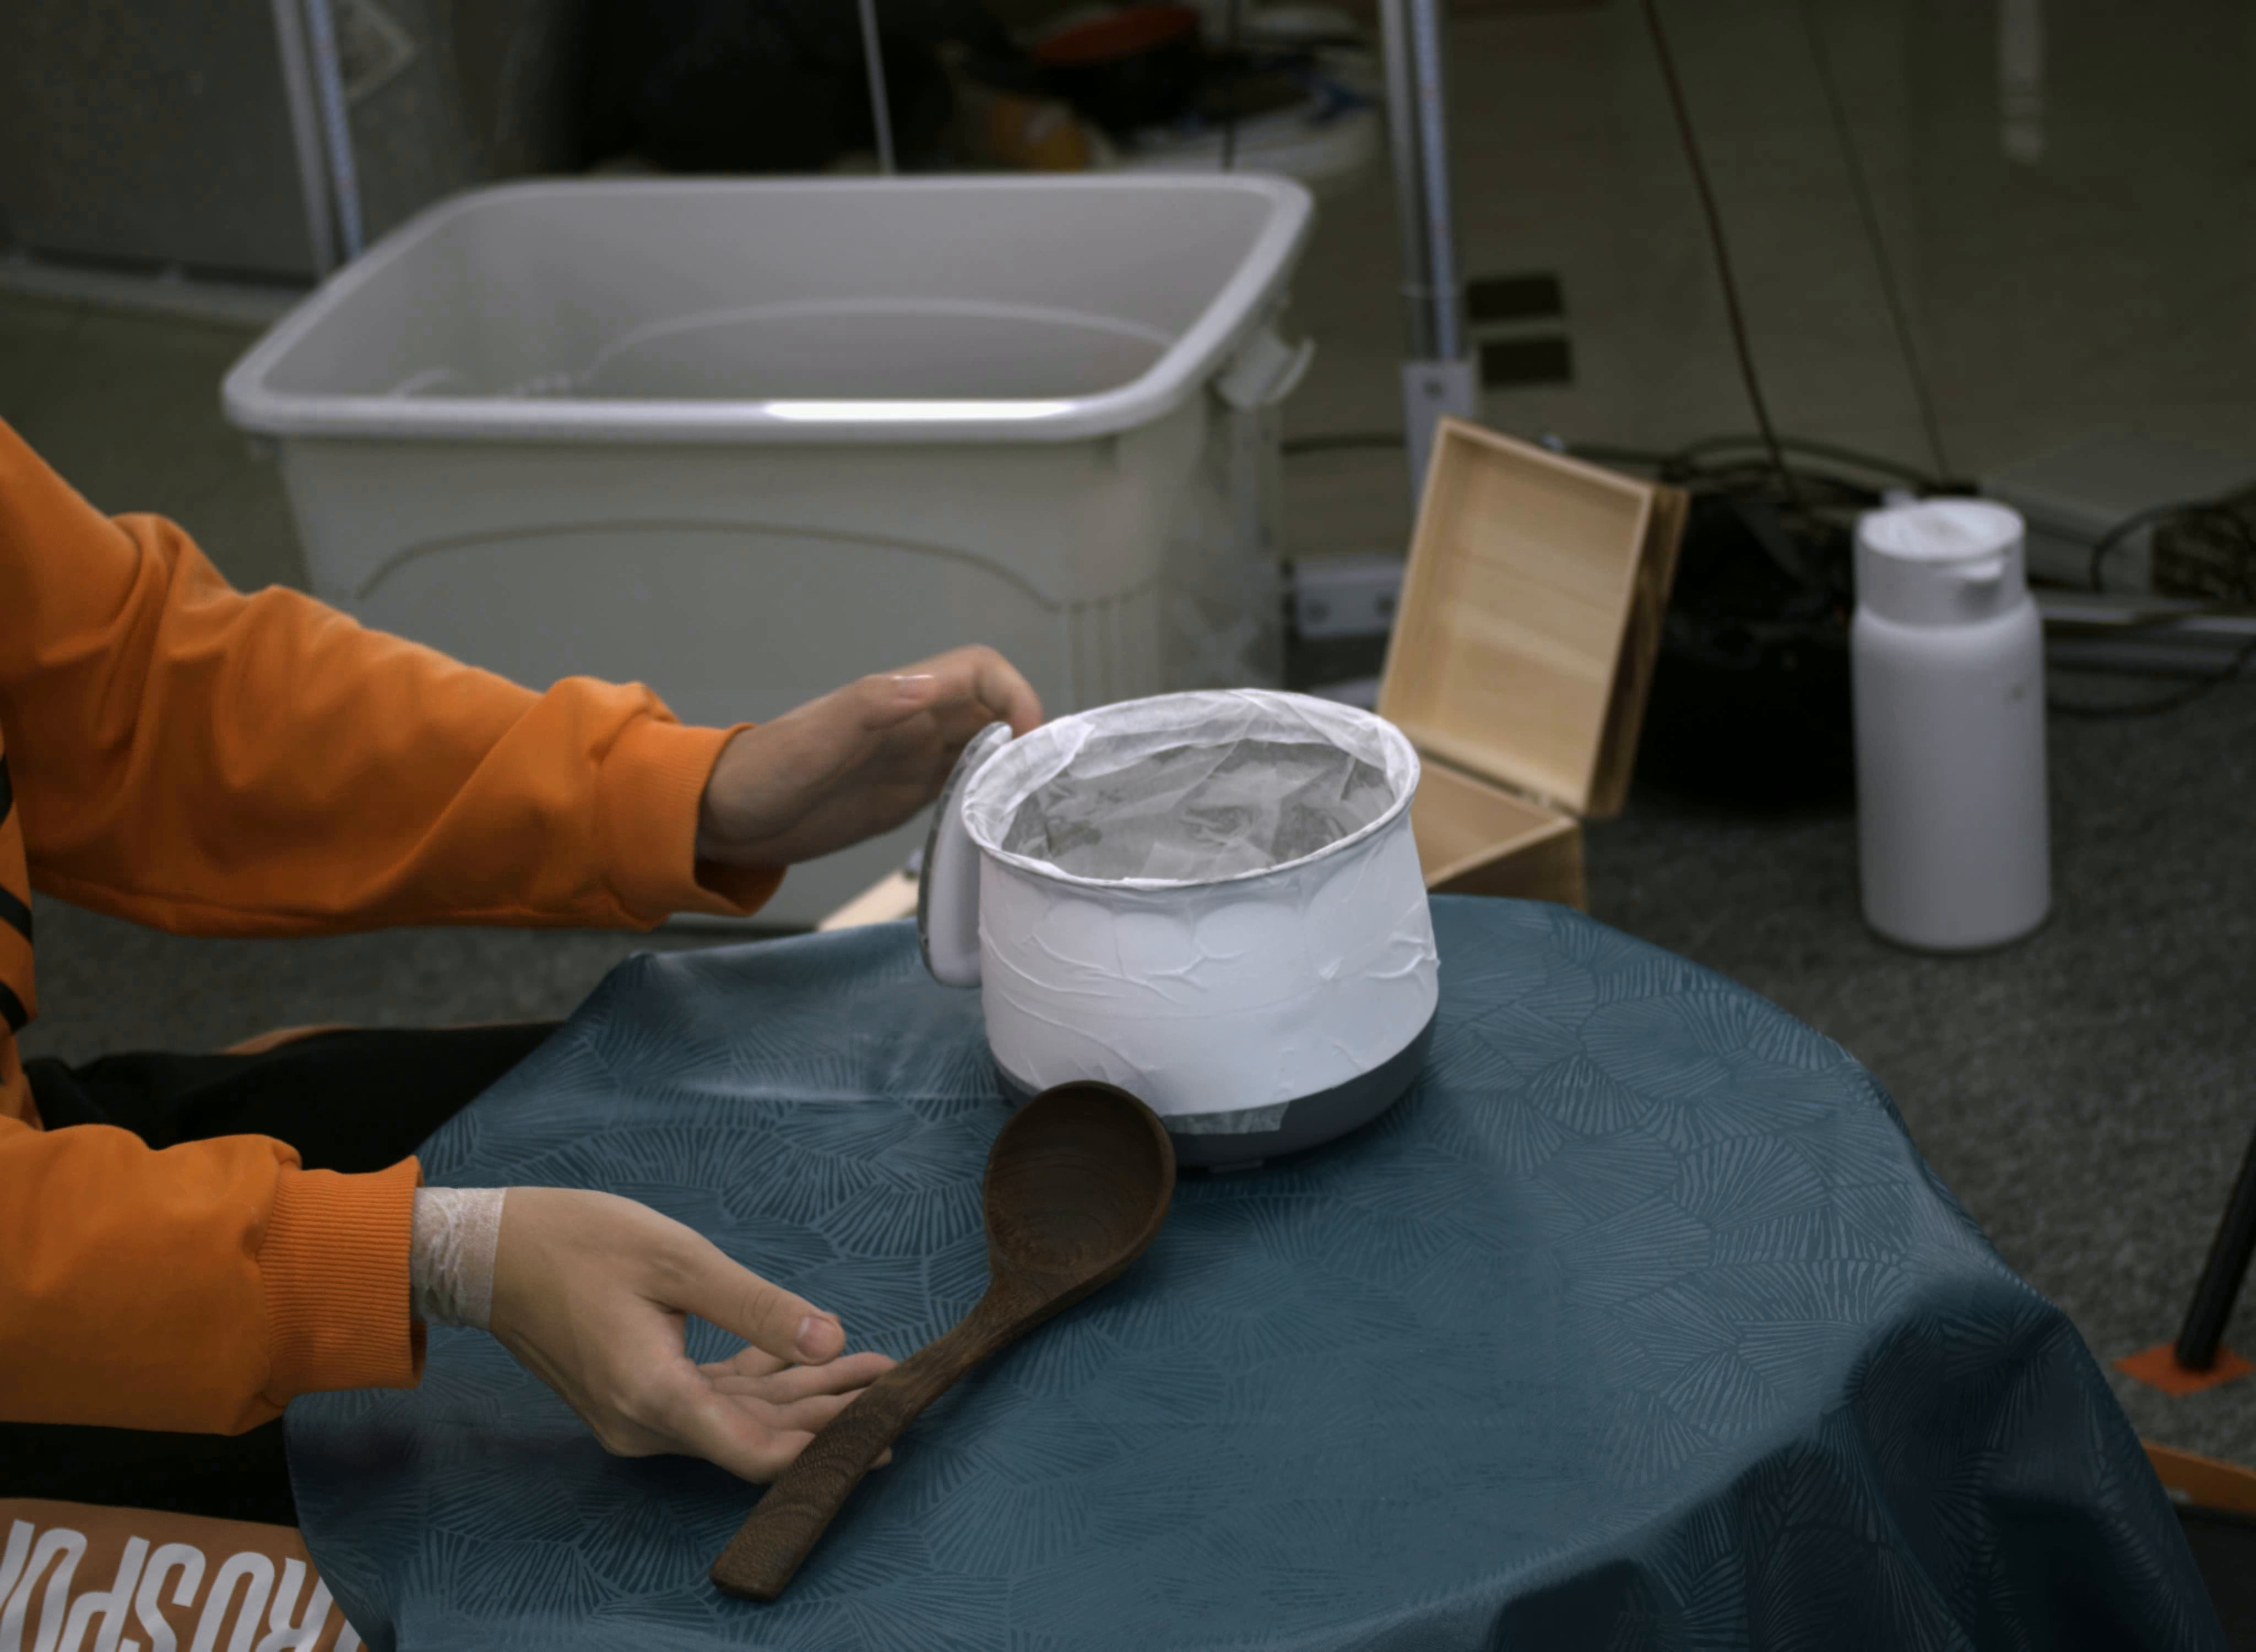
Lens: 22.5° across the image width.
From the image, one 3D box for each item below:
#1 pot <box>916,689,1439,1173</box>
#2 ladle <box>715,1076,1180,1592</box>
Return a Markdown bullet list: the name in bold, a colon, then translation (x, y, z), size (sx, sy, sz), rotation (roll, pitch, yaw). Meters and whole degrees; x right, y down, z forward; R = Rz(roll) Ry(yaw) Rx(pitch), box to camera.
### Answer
- **pot**: translation (0.008, 0.036, 2.201), size (0.232, 0.139, 0.177), rotation (15, 32, 37)
- **ladle**: translation (-0.067, 0.173, 2.003), size (0.075, 0.072, 0.271), rotation (11, 28, 27)
